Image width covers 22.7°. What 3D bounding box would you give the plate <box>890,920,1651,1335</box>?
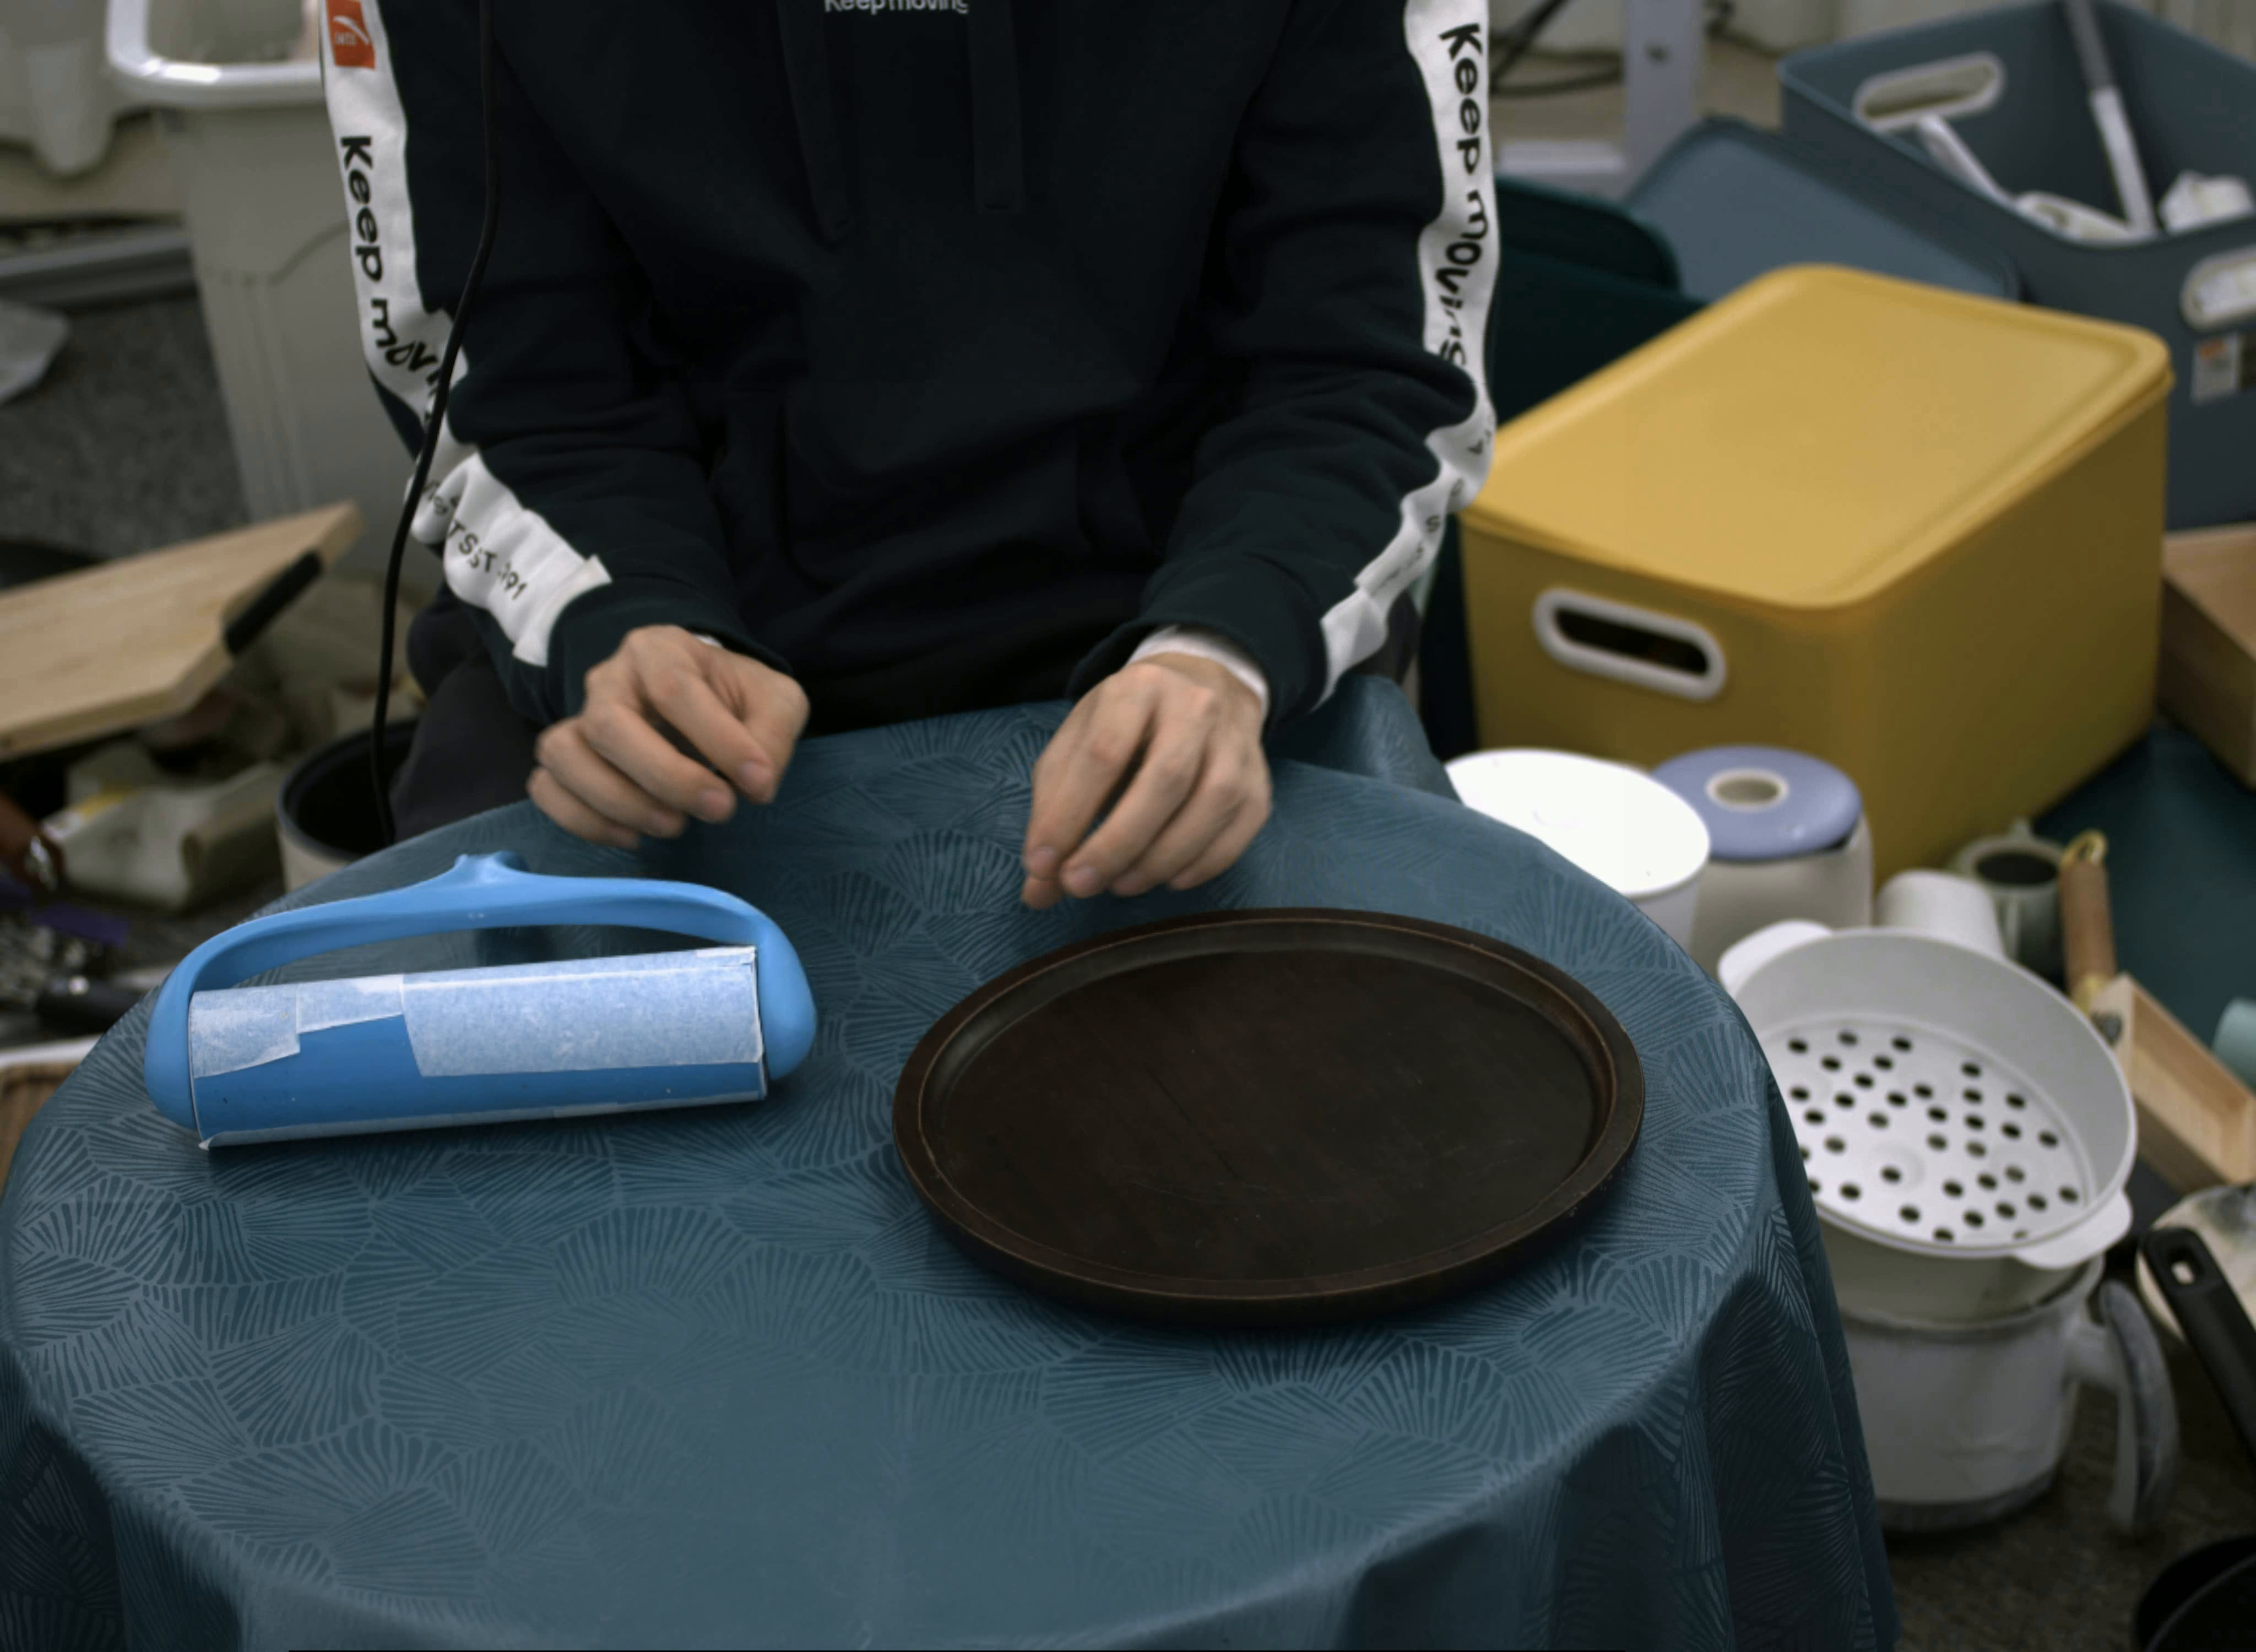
[{"bbox_3d":[0.047,0.098,1.876,0.253,0.029,0.259,-1,28,1],"label":"plate"}]

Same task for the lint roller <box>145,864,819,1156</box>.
[{"bbox_3d":[-0.227,0.048,1.963,0.228,0.067,0.182,-7,28,-5],"label":"lint roller"}]
